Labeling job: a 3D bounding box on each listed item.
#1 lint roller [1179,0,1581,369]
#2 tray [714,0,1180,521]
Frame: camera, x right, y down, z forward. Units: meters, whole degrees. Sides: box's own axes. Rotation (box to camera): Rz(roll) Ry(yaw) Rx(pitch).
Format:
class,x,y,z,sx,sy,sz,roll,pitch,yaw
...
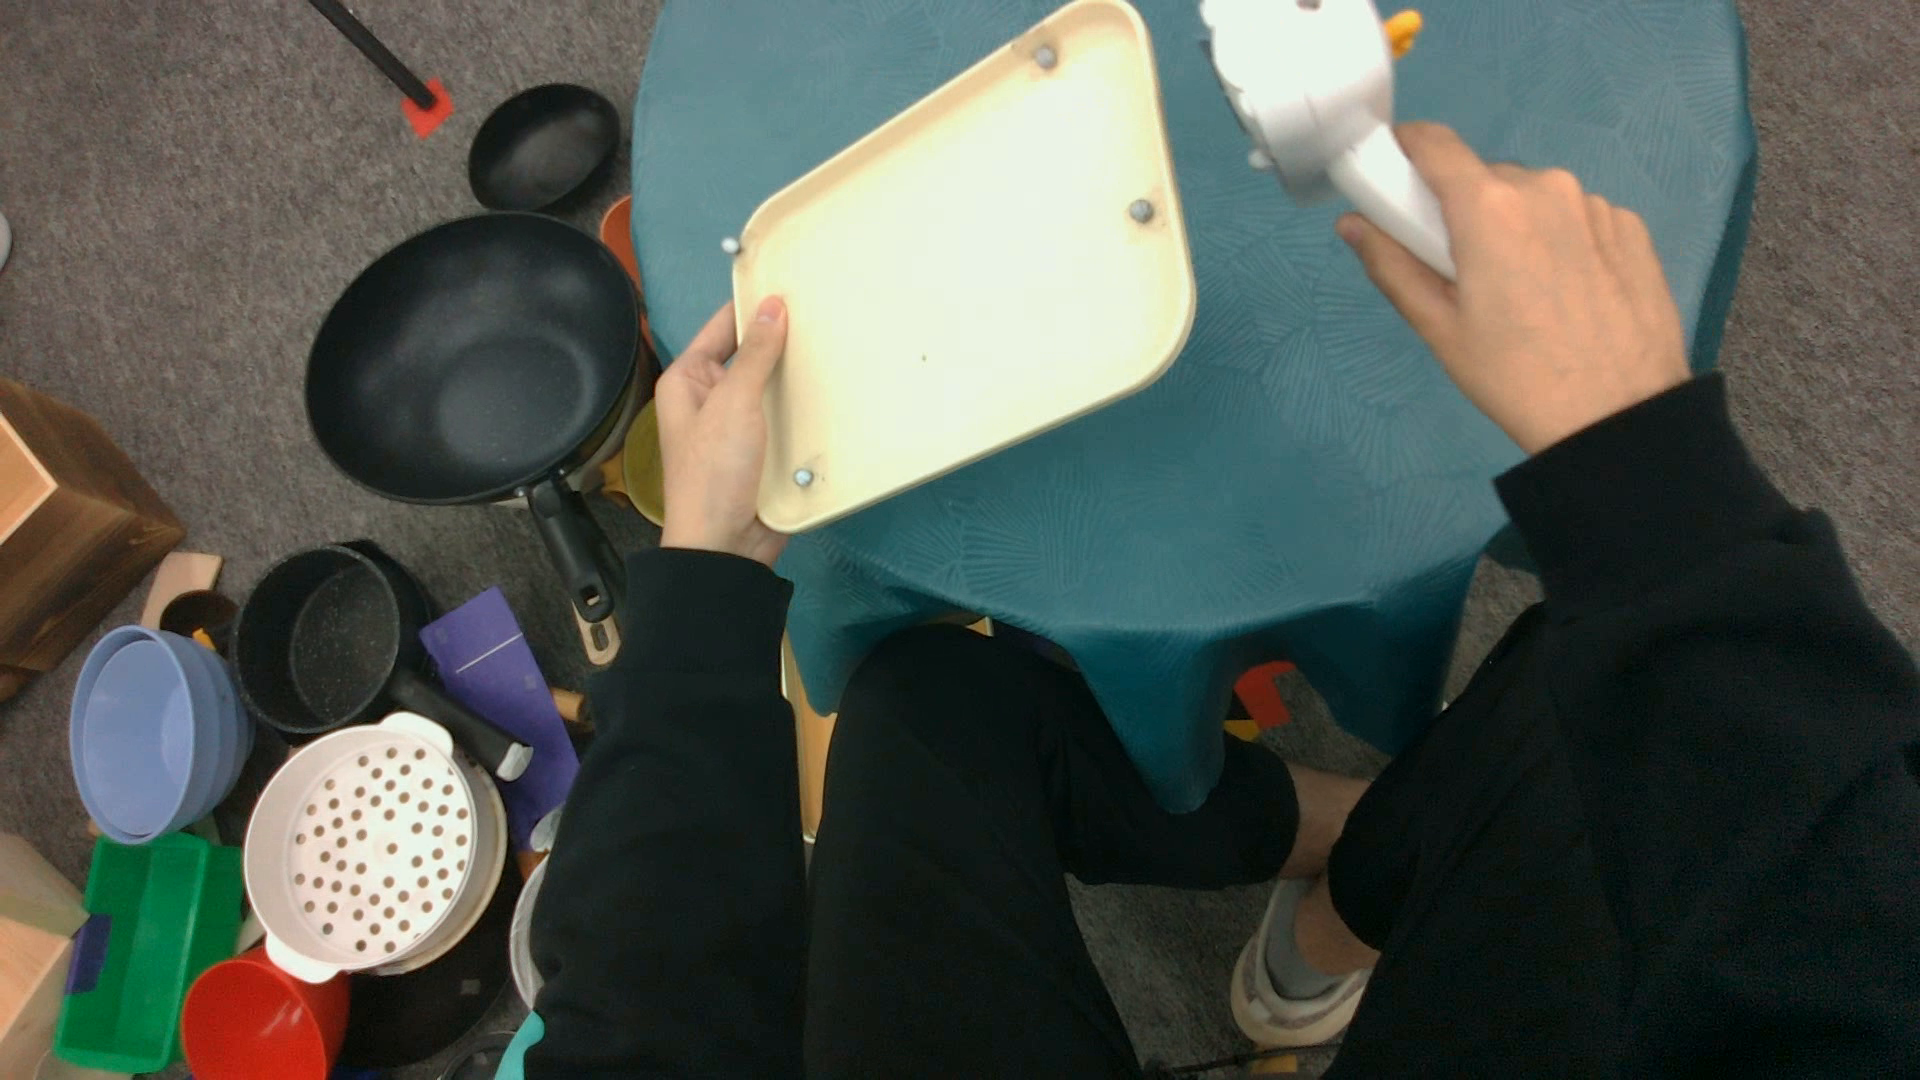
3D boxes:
class,x,y,z,sx,sy,sz,roll,pitch,yaw
lint roller,0.157,-0.135,0.524,0.074,0.193,0.192,-34,88,12
tray,-0.017,-0.114,0.586,0.239,0.017,0.171,-20,68,35
